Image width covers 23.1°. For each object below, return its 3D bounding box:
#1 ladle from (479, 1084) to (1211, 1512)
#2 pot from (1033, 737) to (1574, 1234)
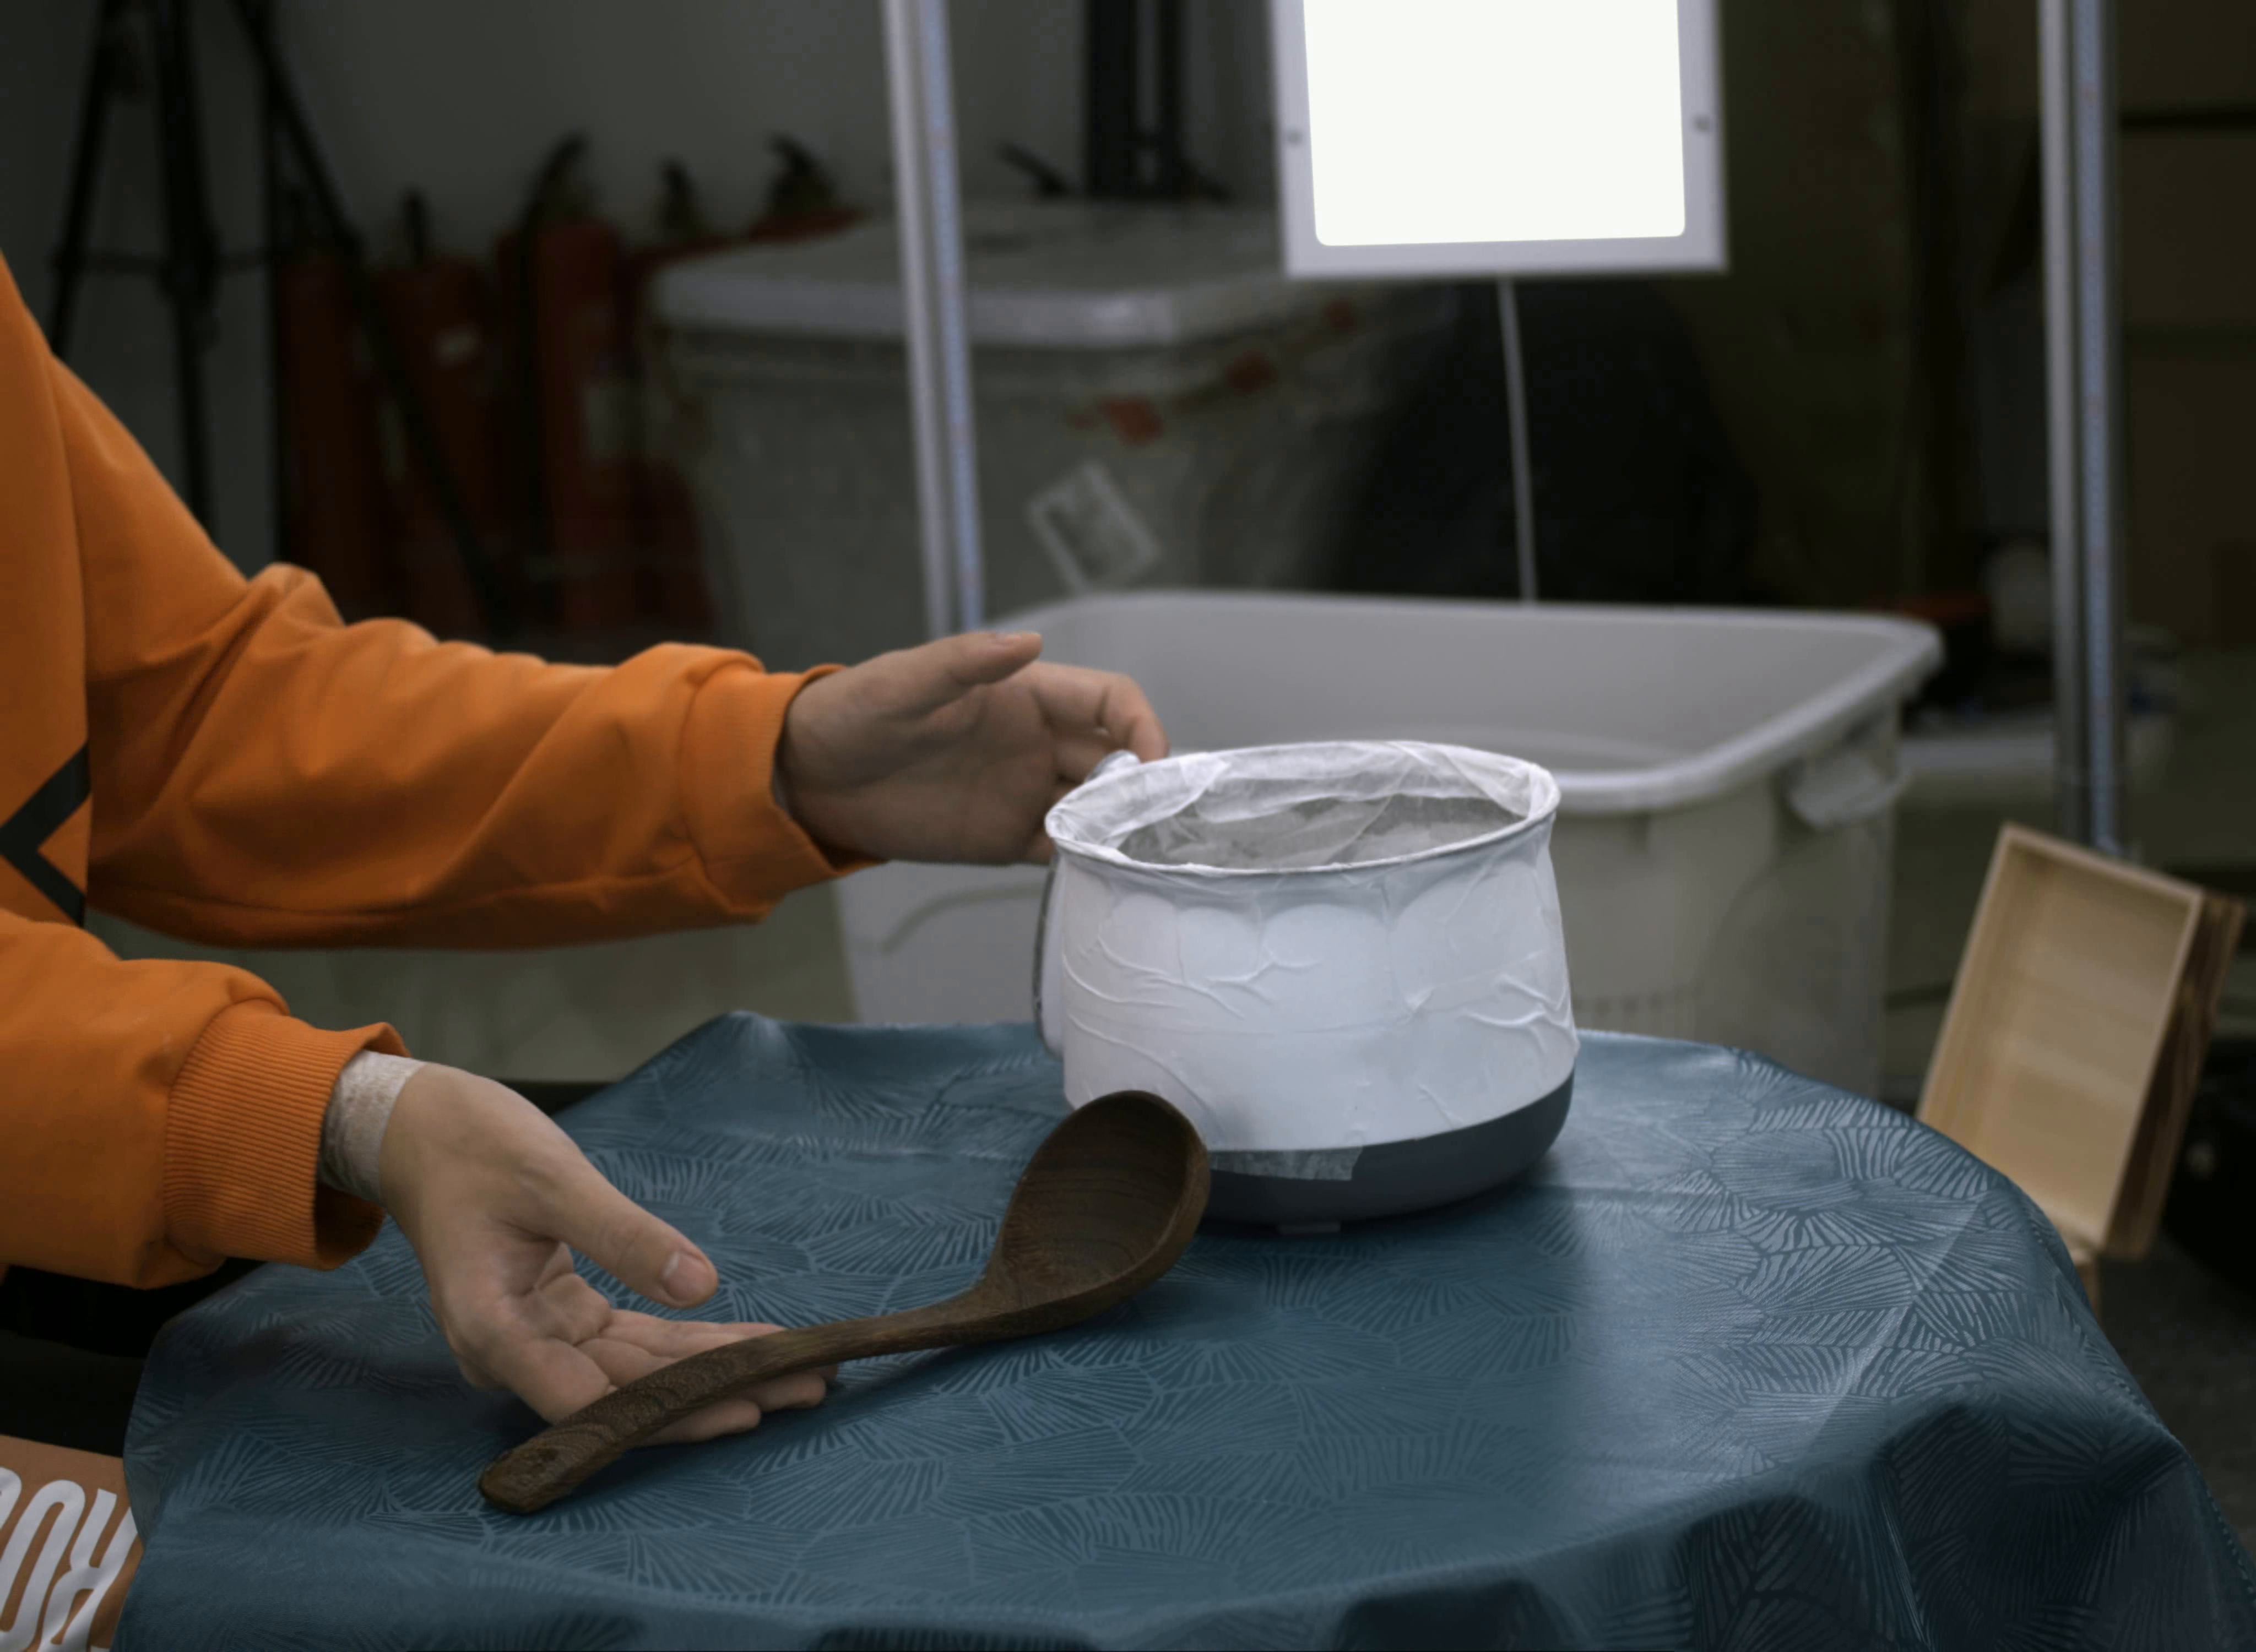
[{"bbox_3d":[-0.087,0.143,1.716,0.267,0.071,0.077,-14,16,-37],"label":"ladle"},{"bbox_3d":[0.046,0.049,1.906,0.174,0.137,0.238,-15,17,-37],"label":"pot"}]
